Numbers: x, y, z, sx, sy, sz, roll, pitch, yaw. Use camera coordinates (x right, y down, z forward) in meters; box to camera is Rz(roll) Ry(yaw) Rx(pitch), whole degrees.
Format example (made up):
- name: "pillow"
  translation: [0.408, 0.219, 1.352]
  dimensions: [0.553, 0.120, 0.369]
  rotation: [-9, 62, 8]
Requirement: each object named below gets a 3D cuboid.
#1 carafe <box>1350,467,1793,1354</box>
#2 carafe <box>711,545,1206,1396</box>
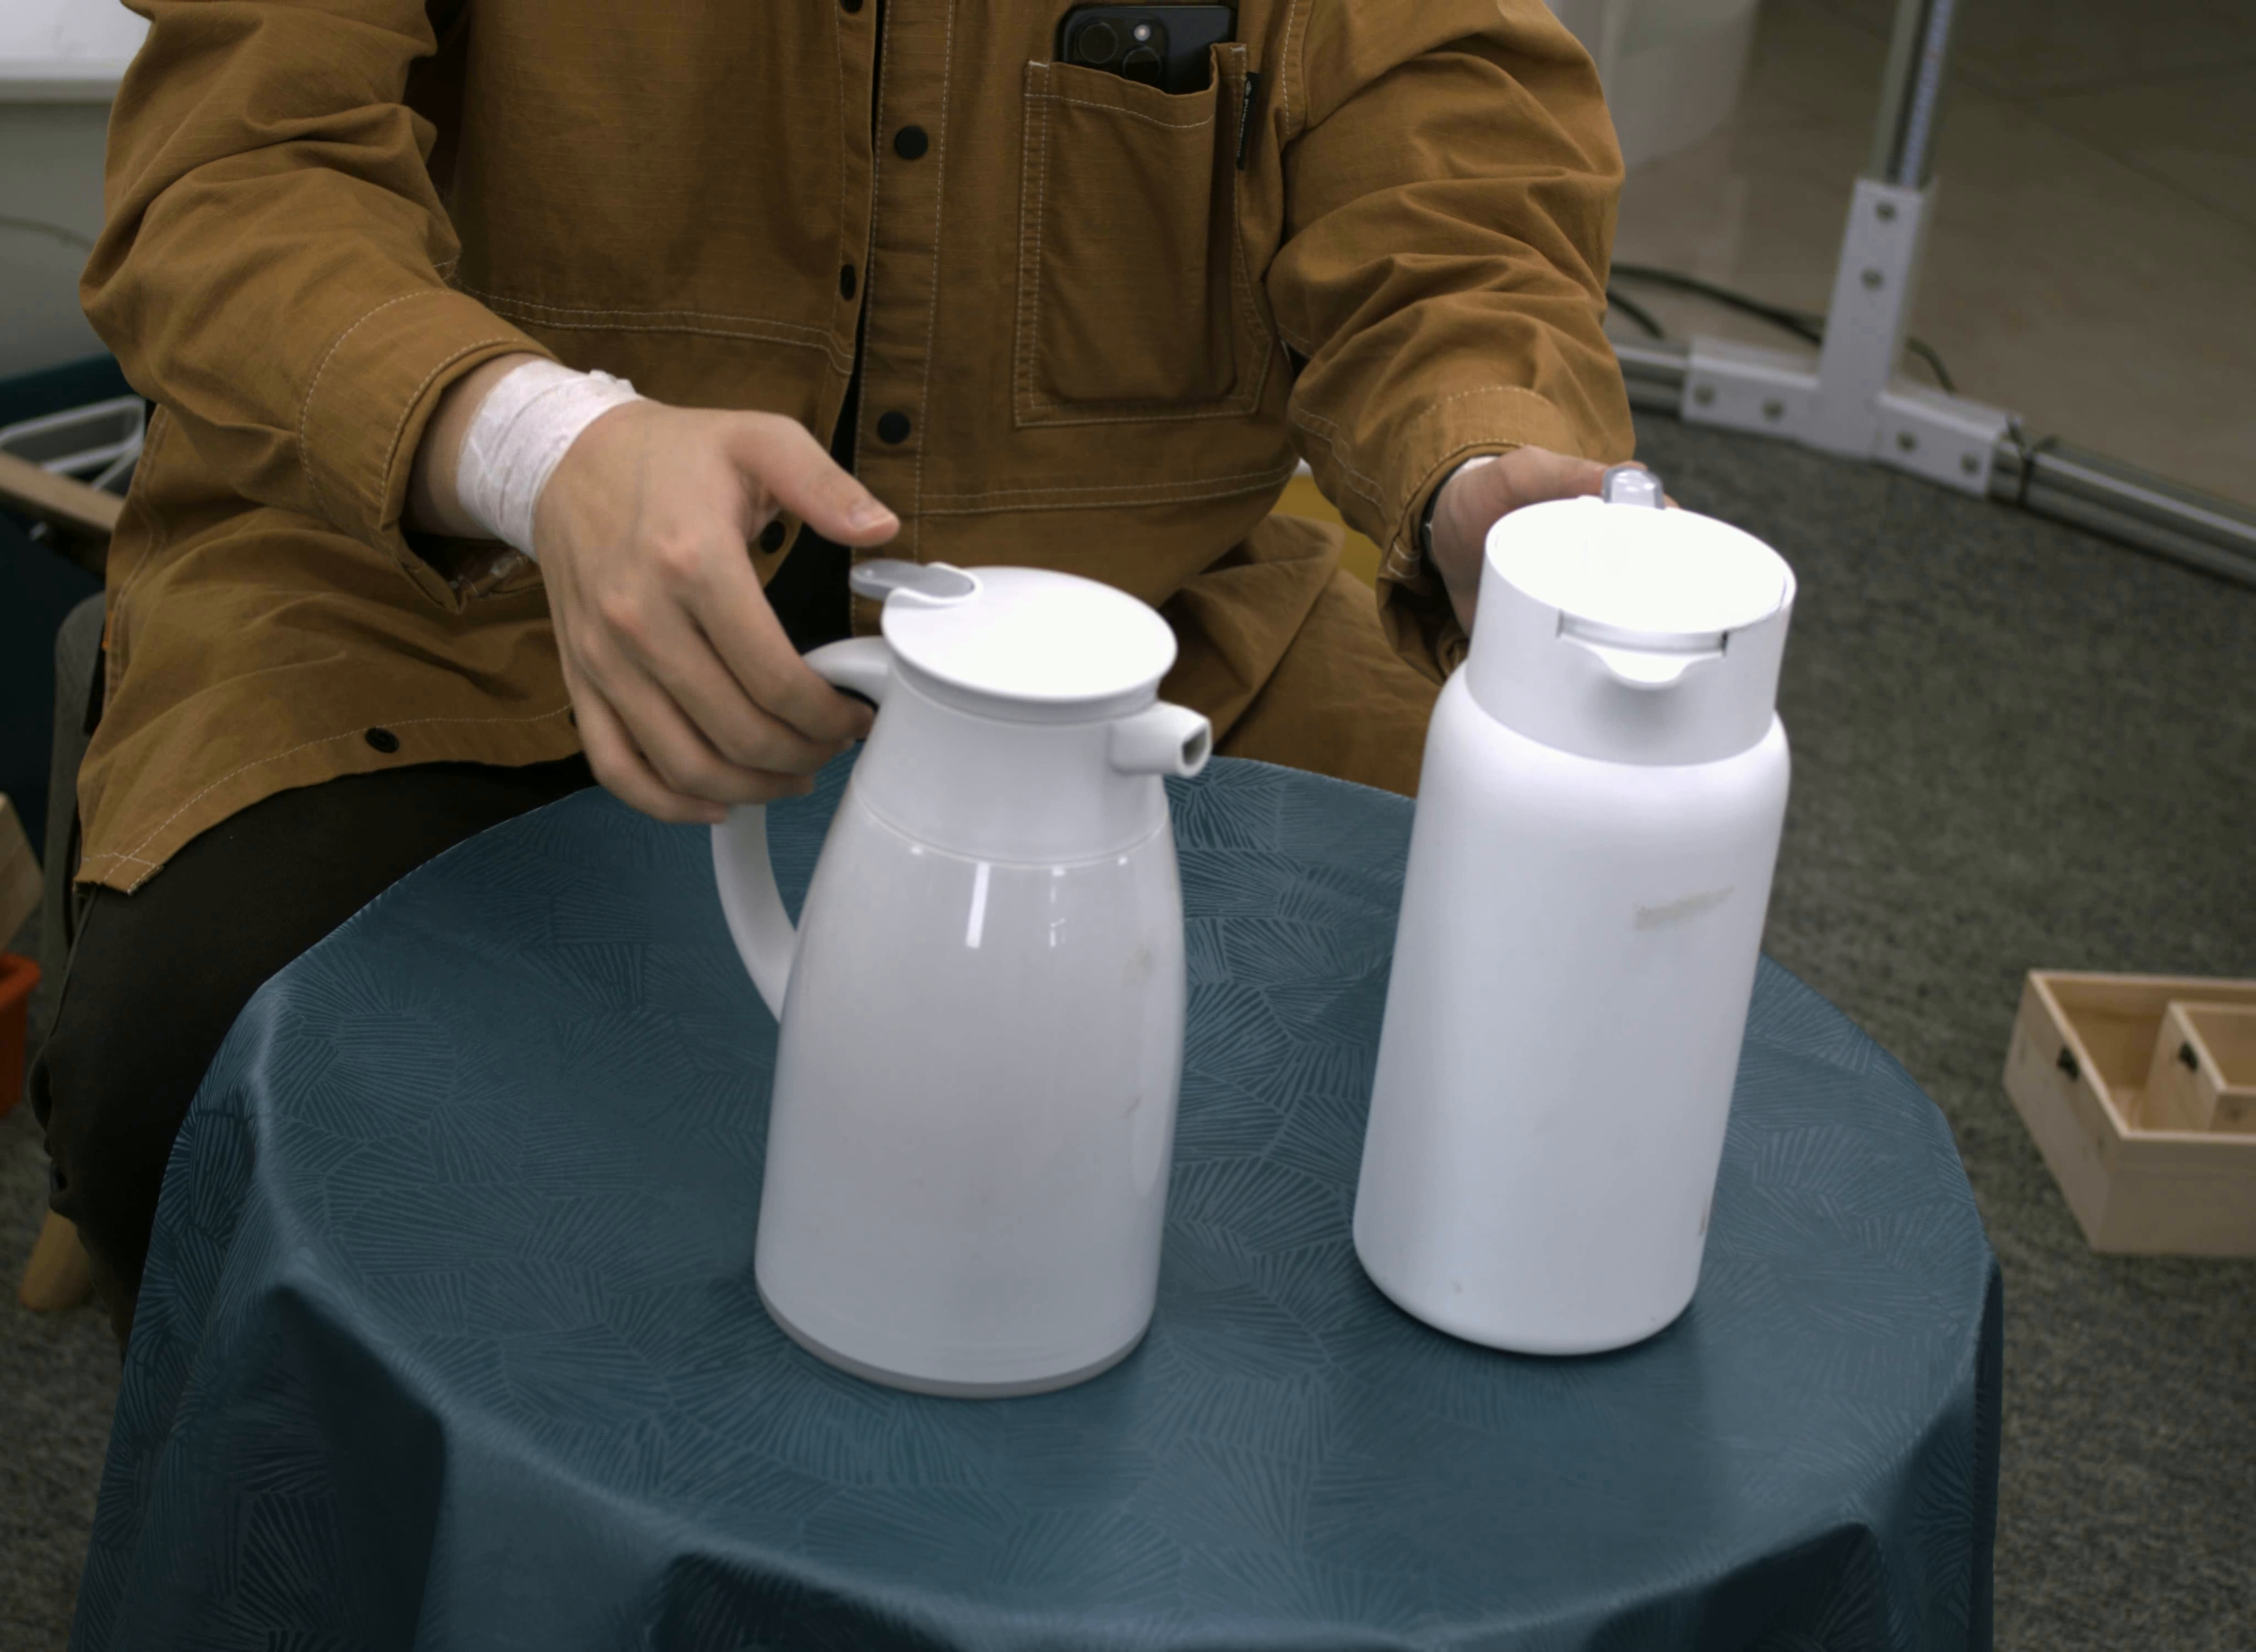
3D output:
- name: "carafe"
  translation: [0.144, 0.024, 1.740]
  dimensions: [0.123, 0.268, 0.174]
  rotation: [4, 26, 0]
- name: "carafe"
  translation: [-0.061, 0.036, 1.691]
  dimensions: [0.168, 0.248, 0.132]
  rotation: [19, 28, 25]
